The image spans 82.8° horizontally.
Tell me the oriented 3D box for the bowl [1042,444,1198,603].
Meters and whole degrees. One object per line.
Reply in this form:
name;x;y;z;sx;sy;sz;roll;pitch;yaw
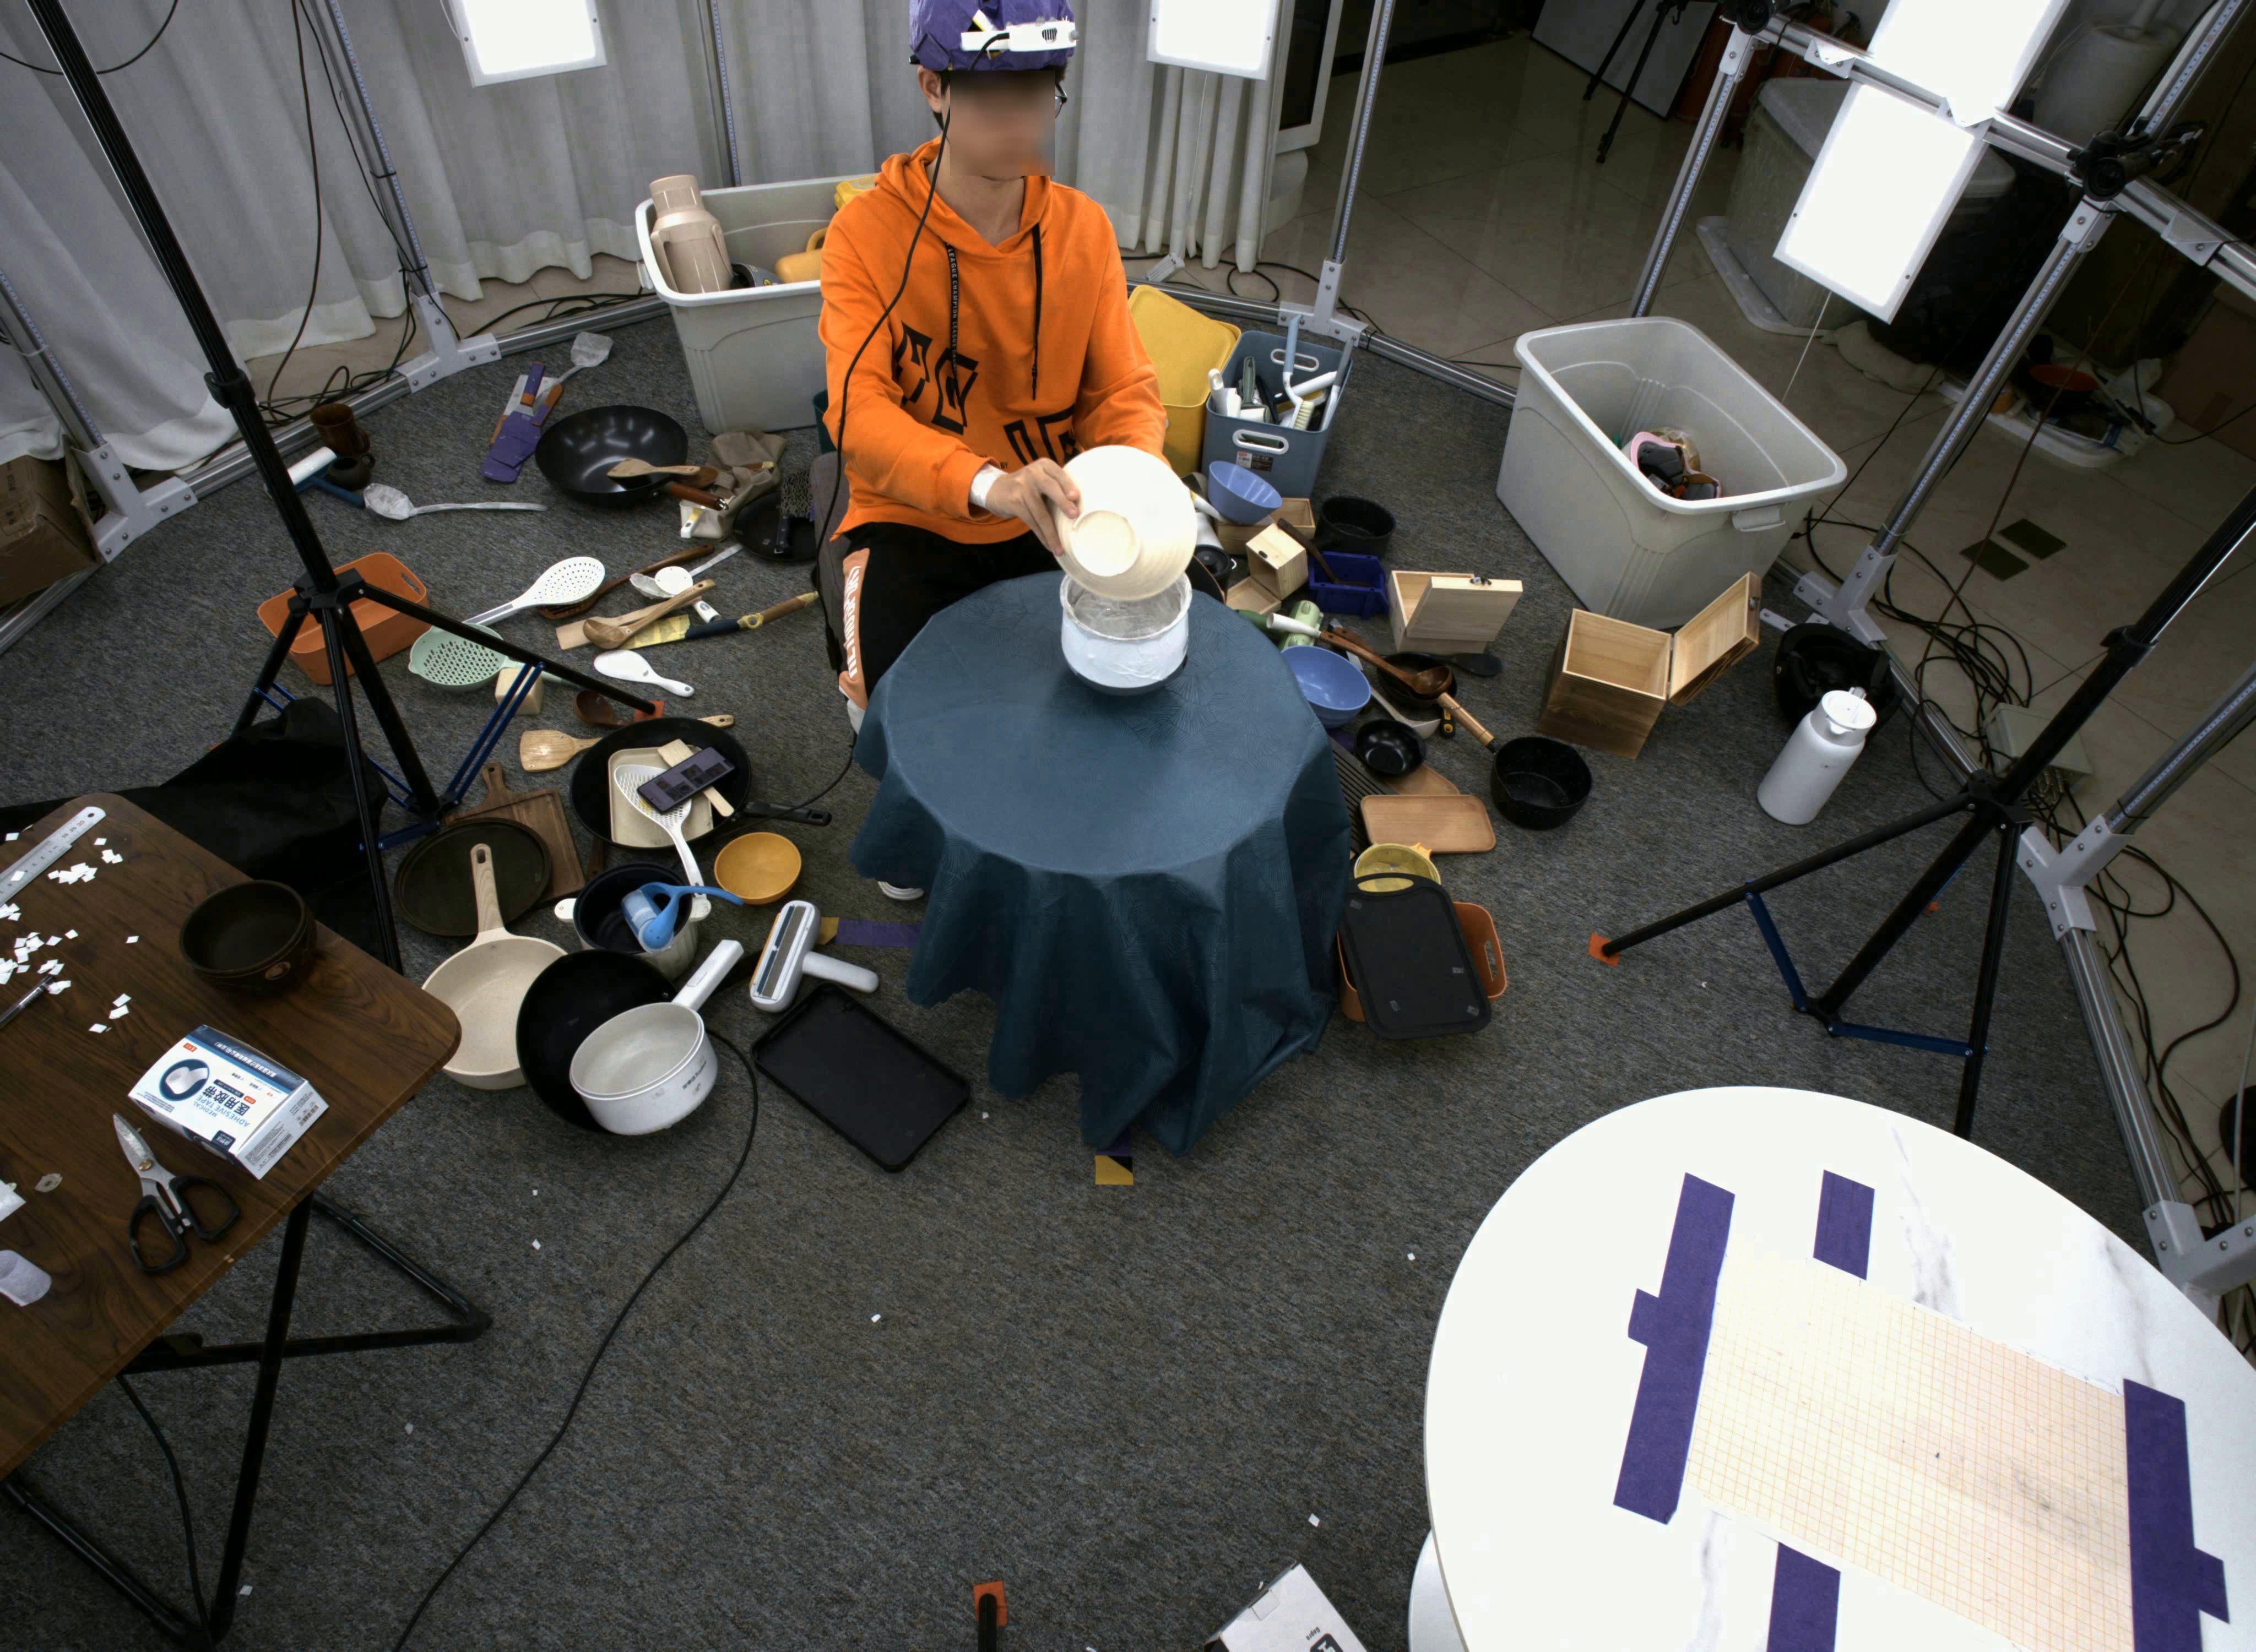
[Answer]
bowl;-0.019;-0.366;1.611;0.204;0.200;0.079;14;28;7

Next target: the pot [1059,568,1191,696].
pot;0.002;-0.301;1.787;0.179;0.133;0.239;12;56;7
